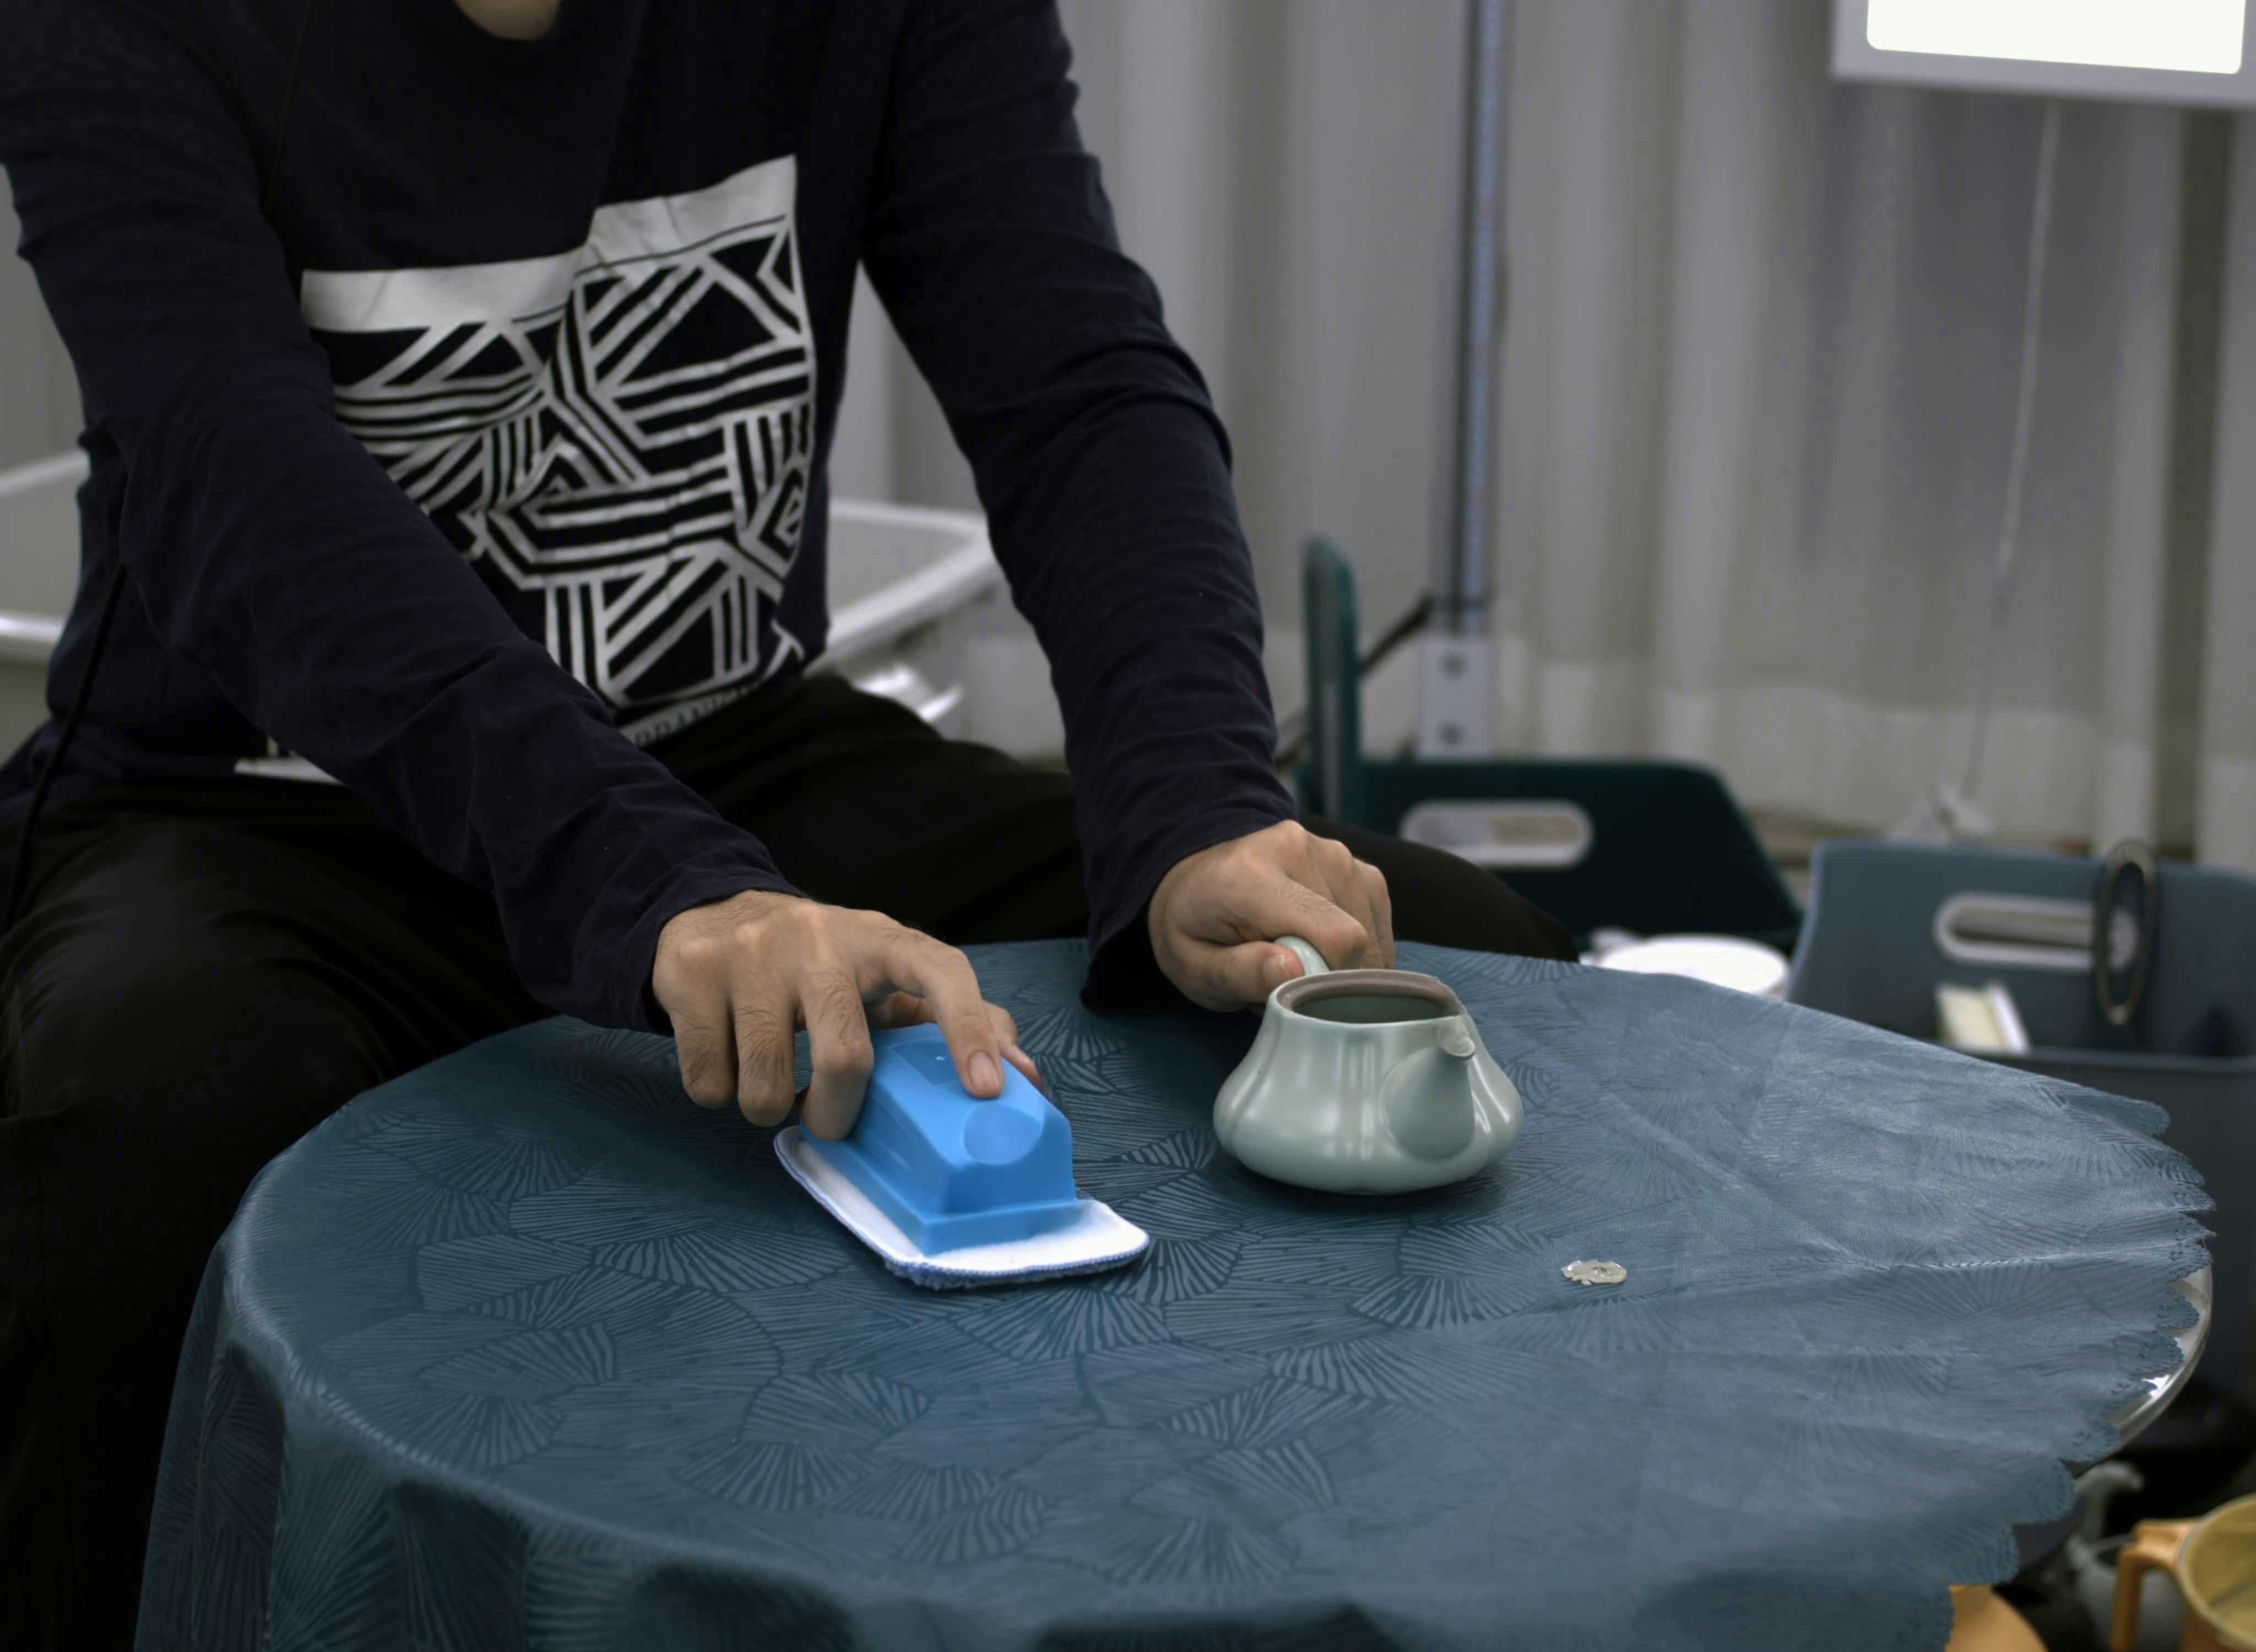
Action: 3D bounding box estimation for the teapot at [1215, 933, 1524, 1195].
[{"bbox_3d":[0.073,0.077,1.644,0.096,0.062,0.135,-9,19,-24],"label":"teapot"}]

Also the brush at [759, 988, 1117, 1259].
[{"bbox_3d":[-0.057,0.088,1.598,0.084,0.056,0.142,-1,18,-20],"label":"brush"}]
